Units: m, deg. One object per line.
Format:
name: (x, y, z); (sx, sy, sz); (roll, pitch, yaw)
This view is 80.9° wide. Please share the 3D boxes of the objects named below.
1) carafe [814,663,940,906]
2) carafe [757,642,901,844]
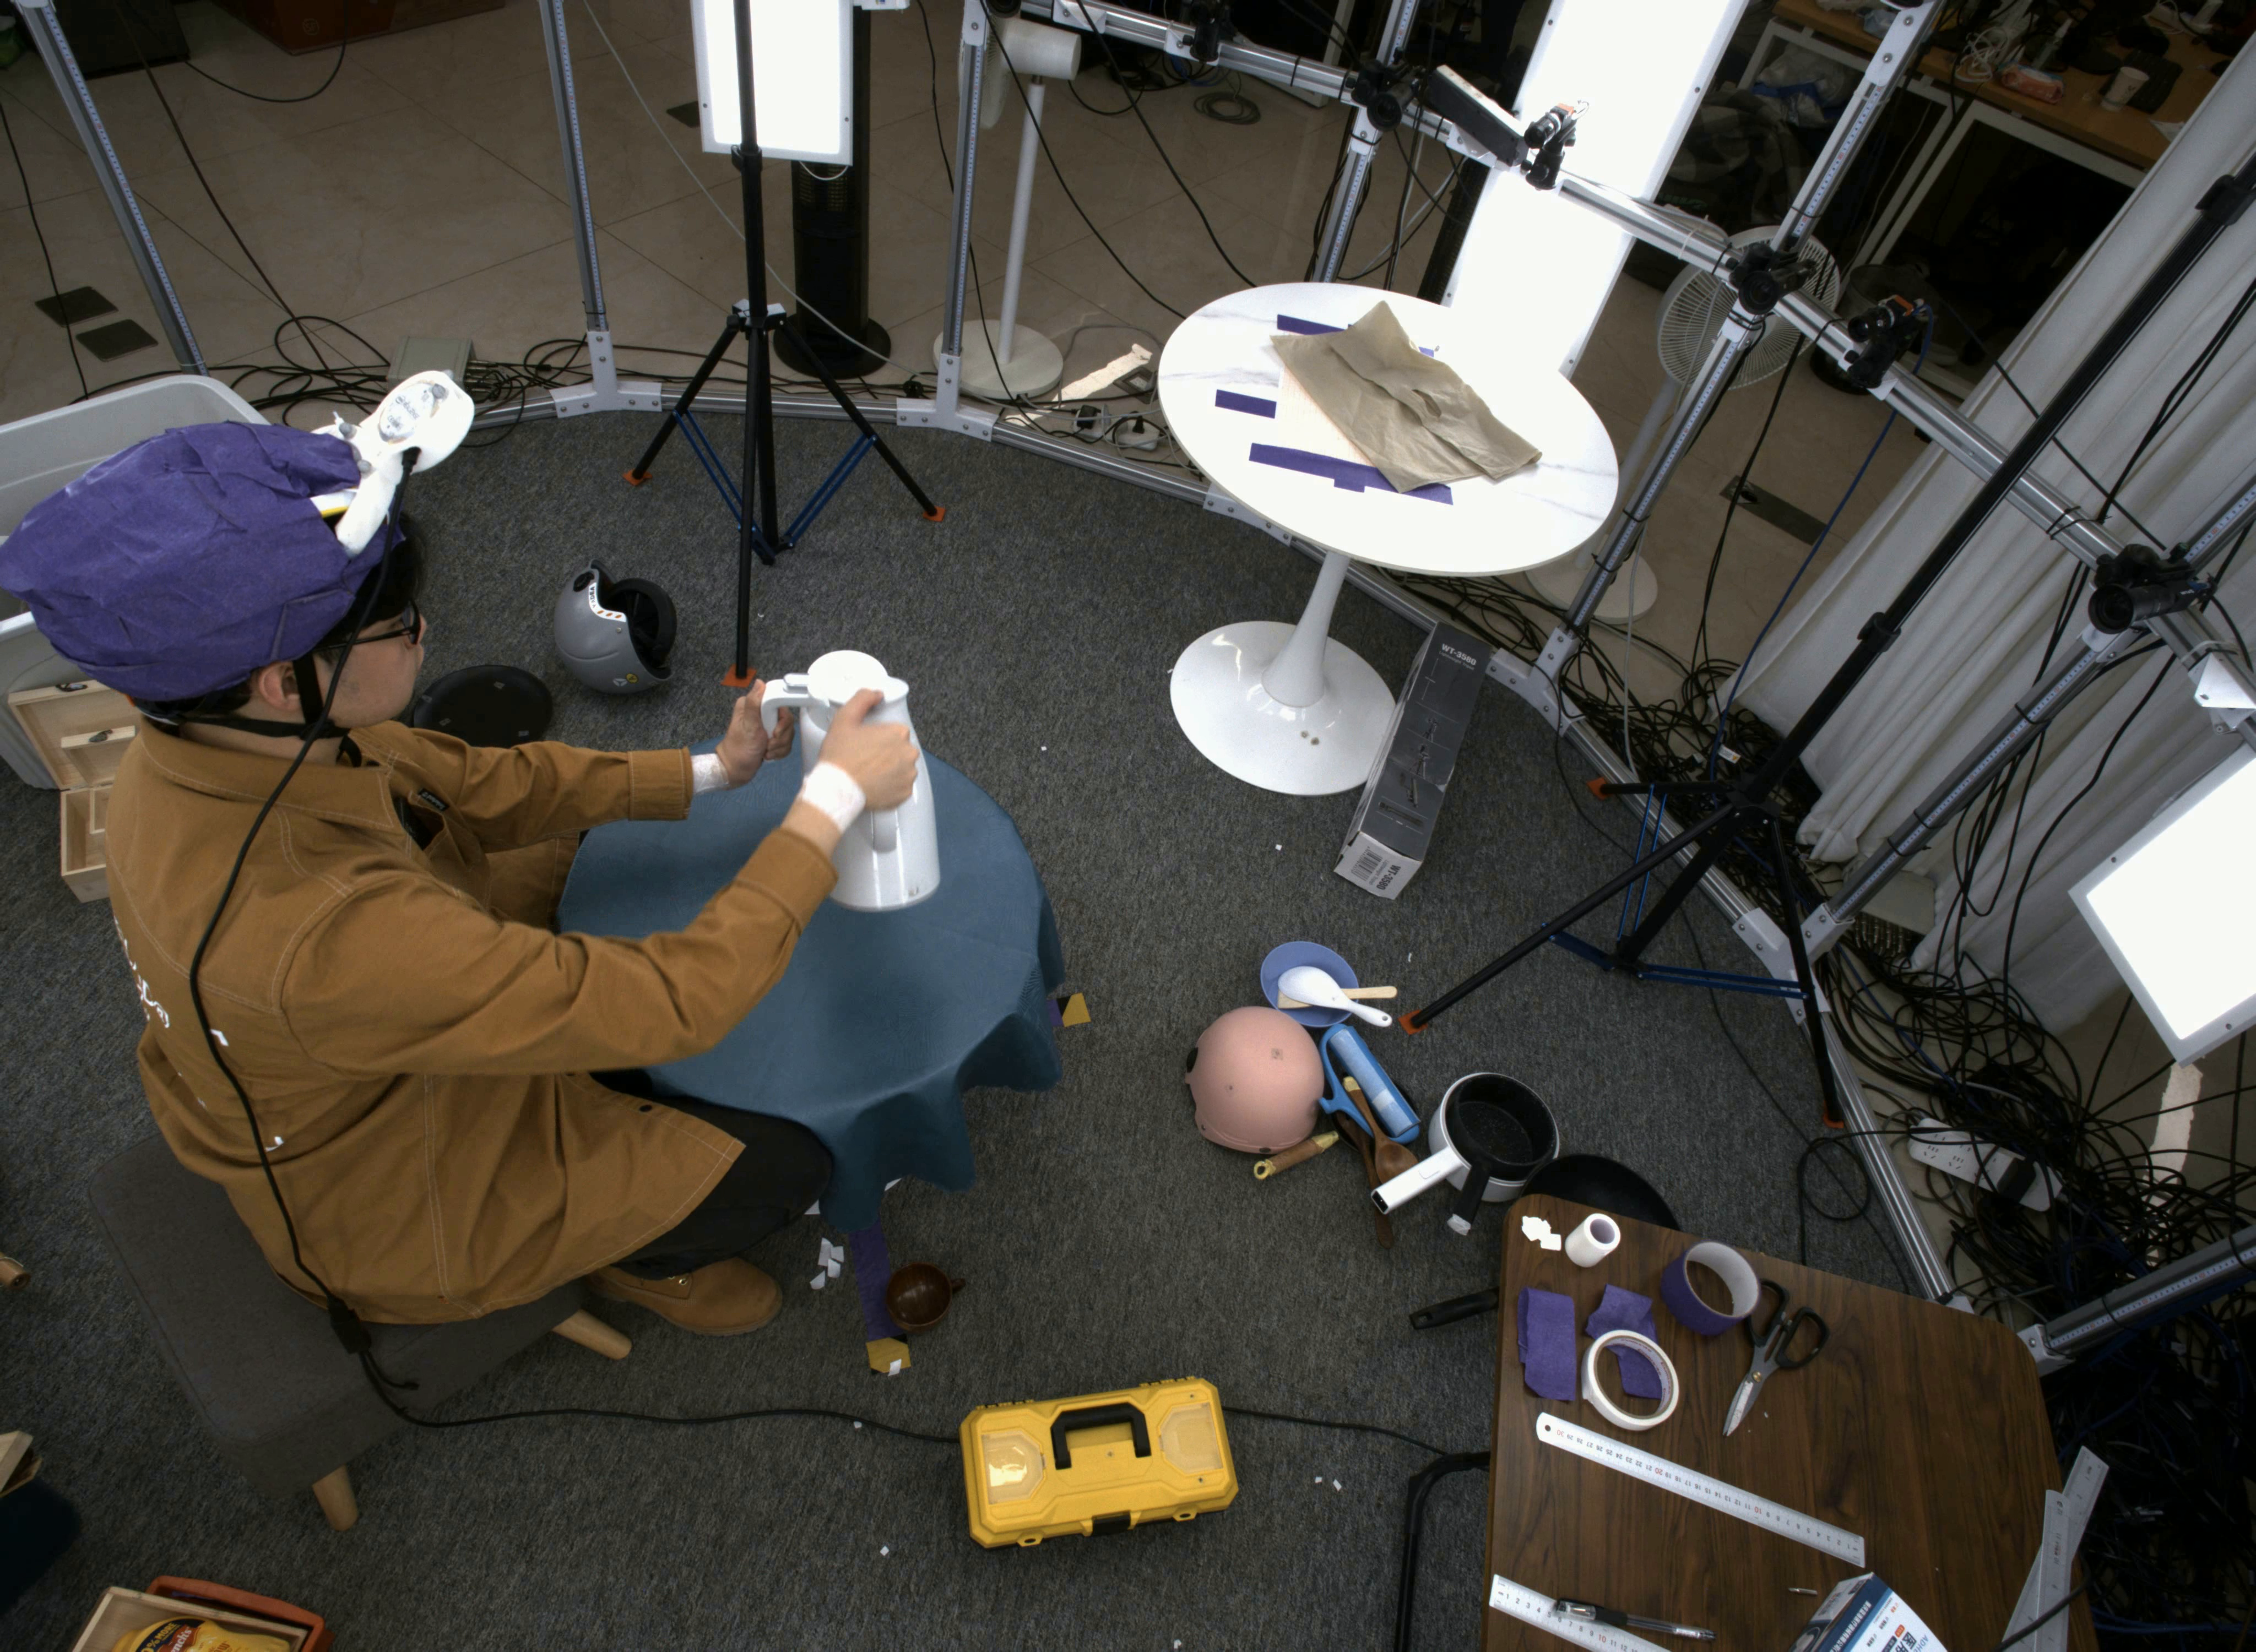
carafe: (-0.279, -0.046, 1.429); (0.133, 0.256, 0.162); (-9, 27, -15)
carafe: (-0.375, -0.097, 1.634); (0.173, 0.274, 0.121); (-2, 54, -13)
